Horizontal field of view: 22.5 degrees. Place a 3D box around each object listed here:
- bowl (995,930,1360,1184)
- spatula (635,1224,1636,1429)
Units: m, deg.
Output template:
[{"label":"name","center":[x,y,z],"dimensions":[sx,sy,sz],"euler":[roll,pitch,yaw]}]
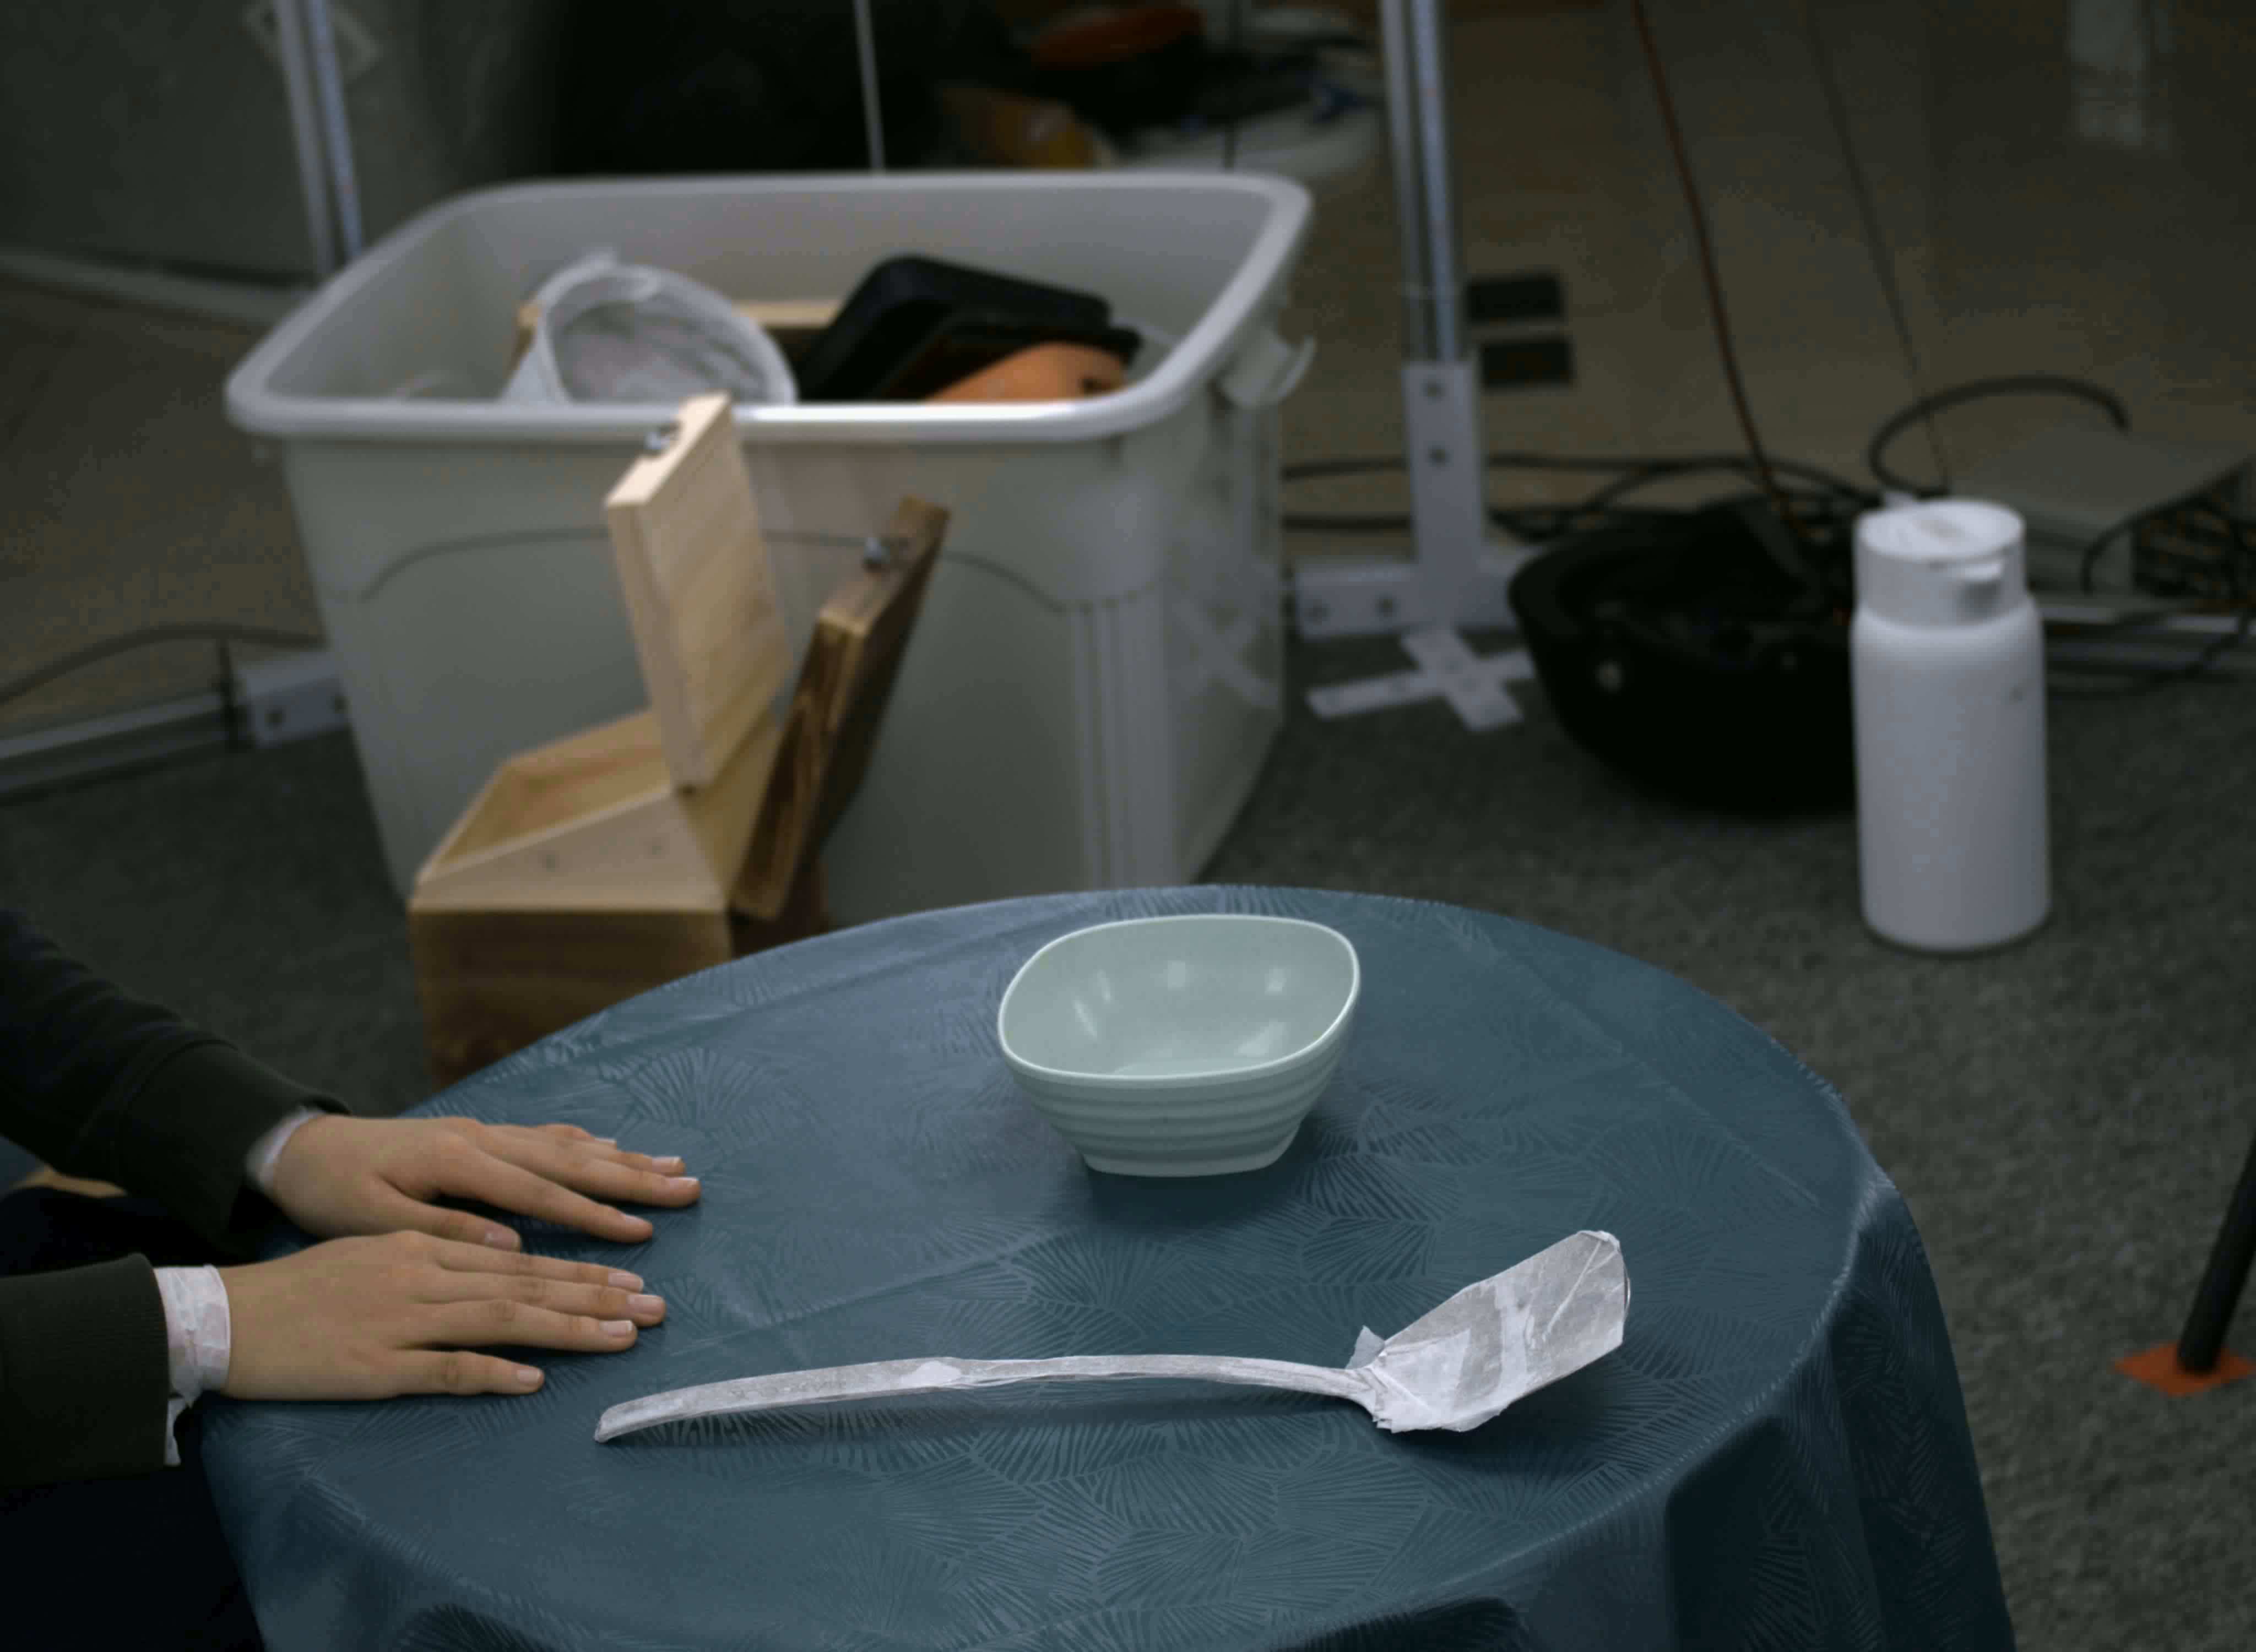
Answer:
[{"label":"bowl","center":[0.021,0.093,2.181],"dimensions":[0.151,0.059,0.149],"euler":[-4,23,2]},{"label":"spatula","center":[-0.002,0.187,2.005],"dimensions":[0.364,0.045,0.097],"euler":[-3,27,8]}]
